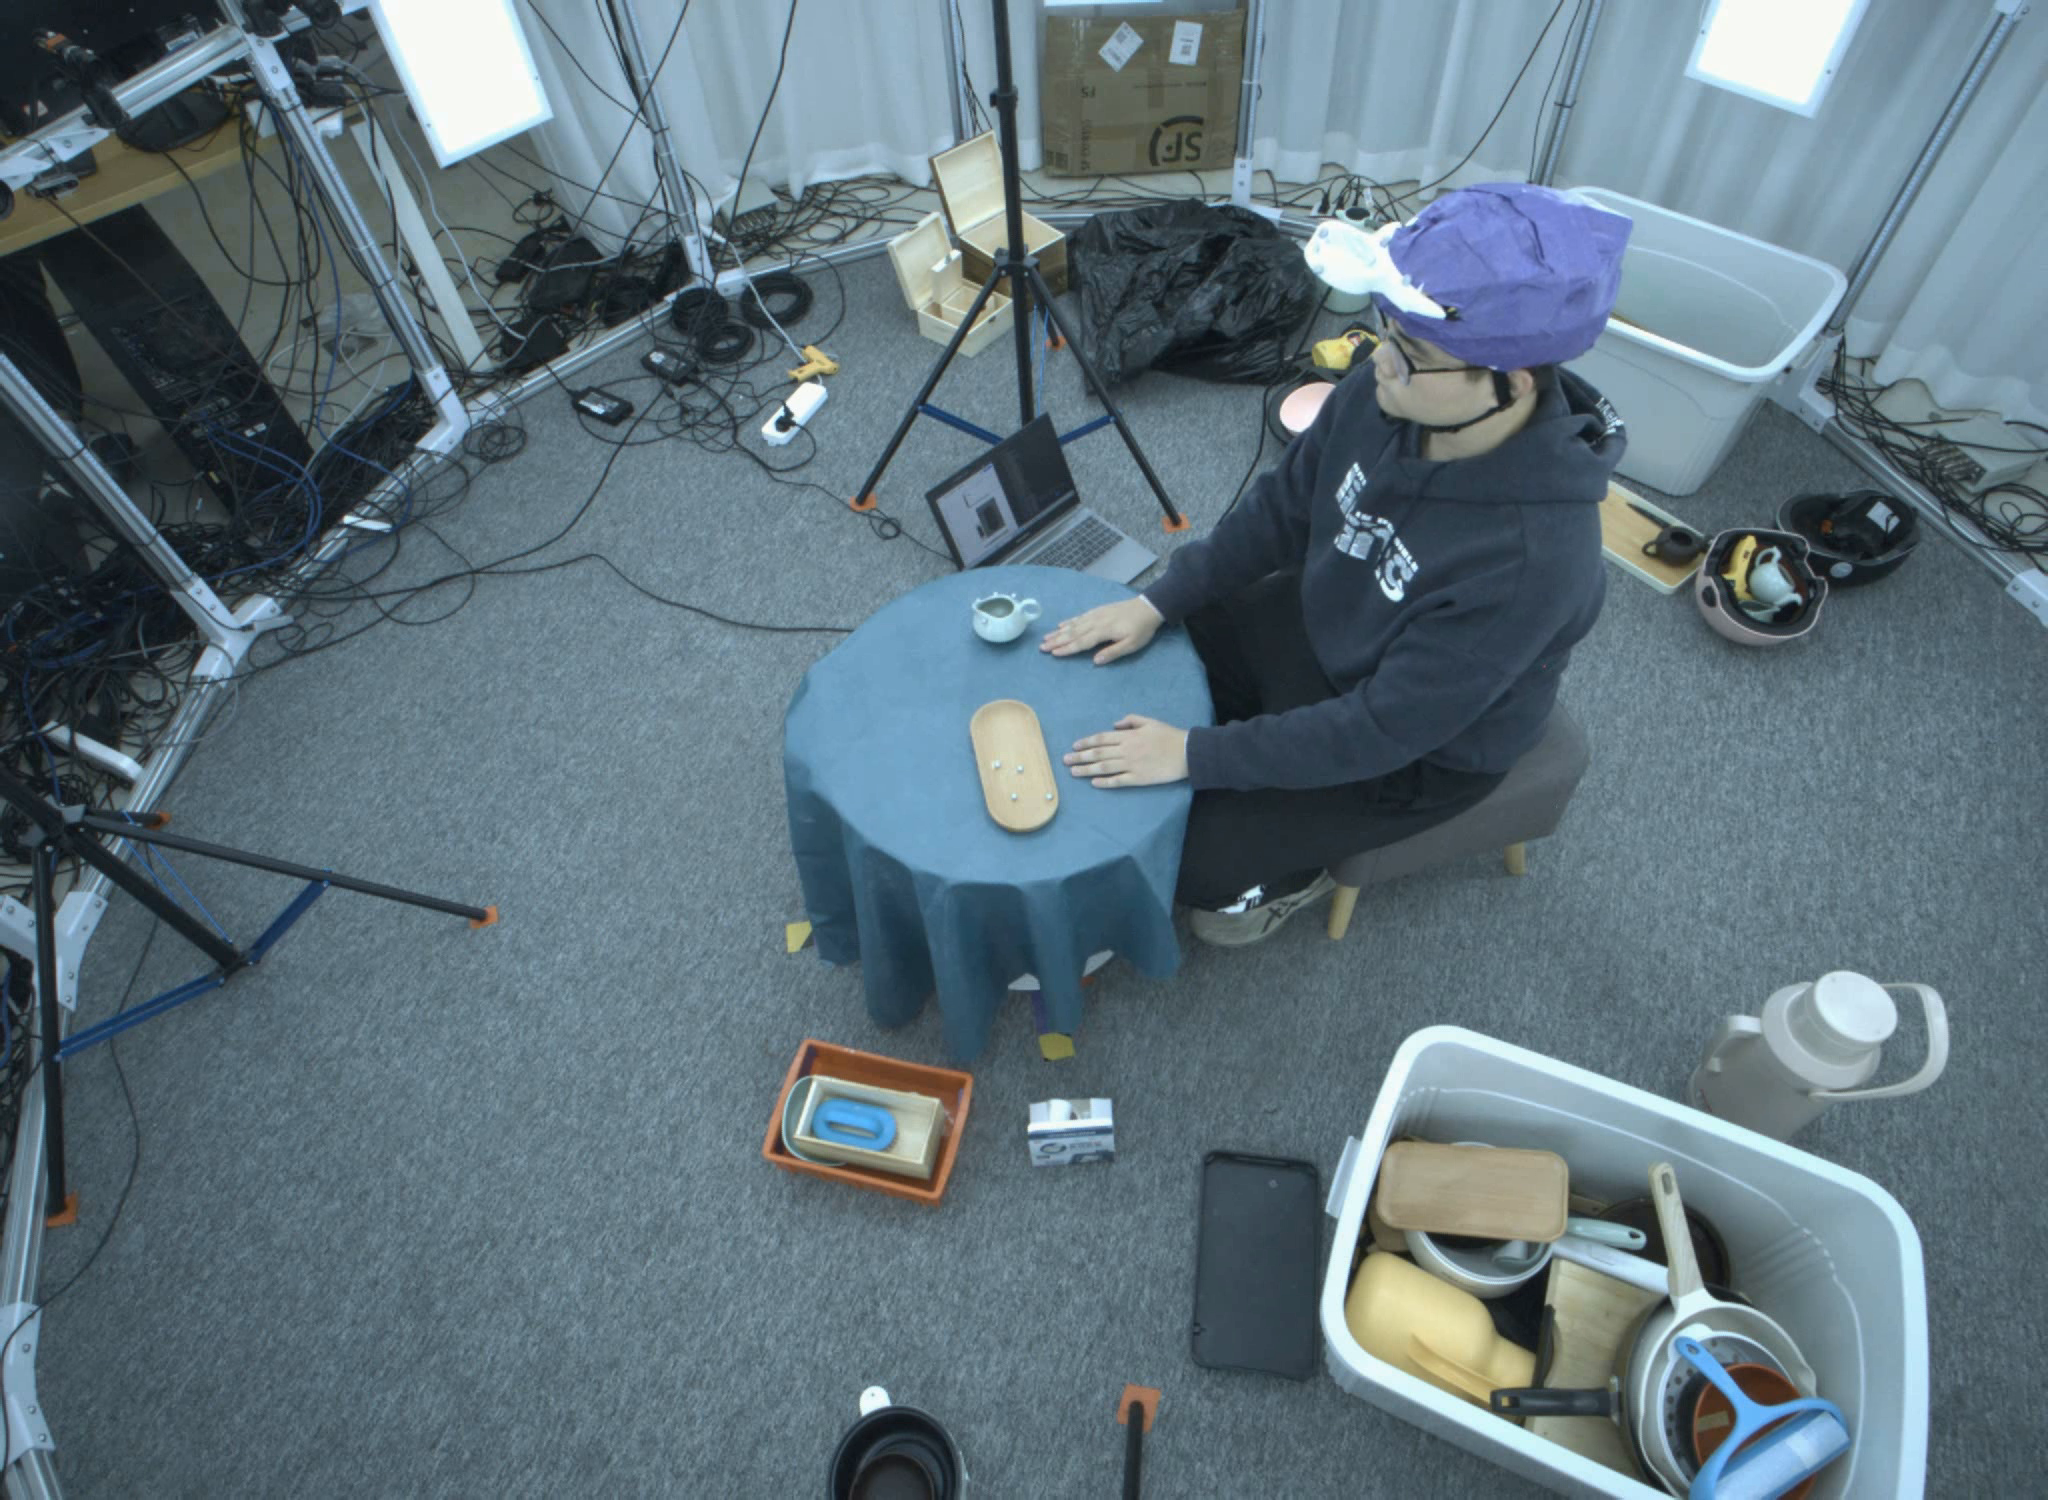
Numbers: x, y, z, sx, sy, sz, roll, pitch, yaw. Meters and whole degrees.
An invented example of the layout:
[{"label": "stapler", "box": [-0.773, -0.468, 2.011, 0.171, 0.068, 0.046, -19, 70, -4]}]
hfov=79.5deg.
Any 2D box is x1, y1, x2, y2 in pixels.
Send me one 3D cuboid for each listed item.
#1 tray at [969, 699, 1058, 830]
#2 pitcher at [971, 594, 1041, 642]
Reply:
[{"label": "tray", "box": [-0.016, 0.018, 1.766, 0.102, 0.020, 0.227, -10, 53, -7]}, {"label": "pitcher", "box": [-0.029, -0.208, 1.902, 0.108, 0.061, 0.085, -3, 56, -3]}]
